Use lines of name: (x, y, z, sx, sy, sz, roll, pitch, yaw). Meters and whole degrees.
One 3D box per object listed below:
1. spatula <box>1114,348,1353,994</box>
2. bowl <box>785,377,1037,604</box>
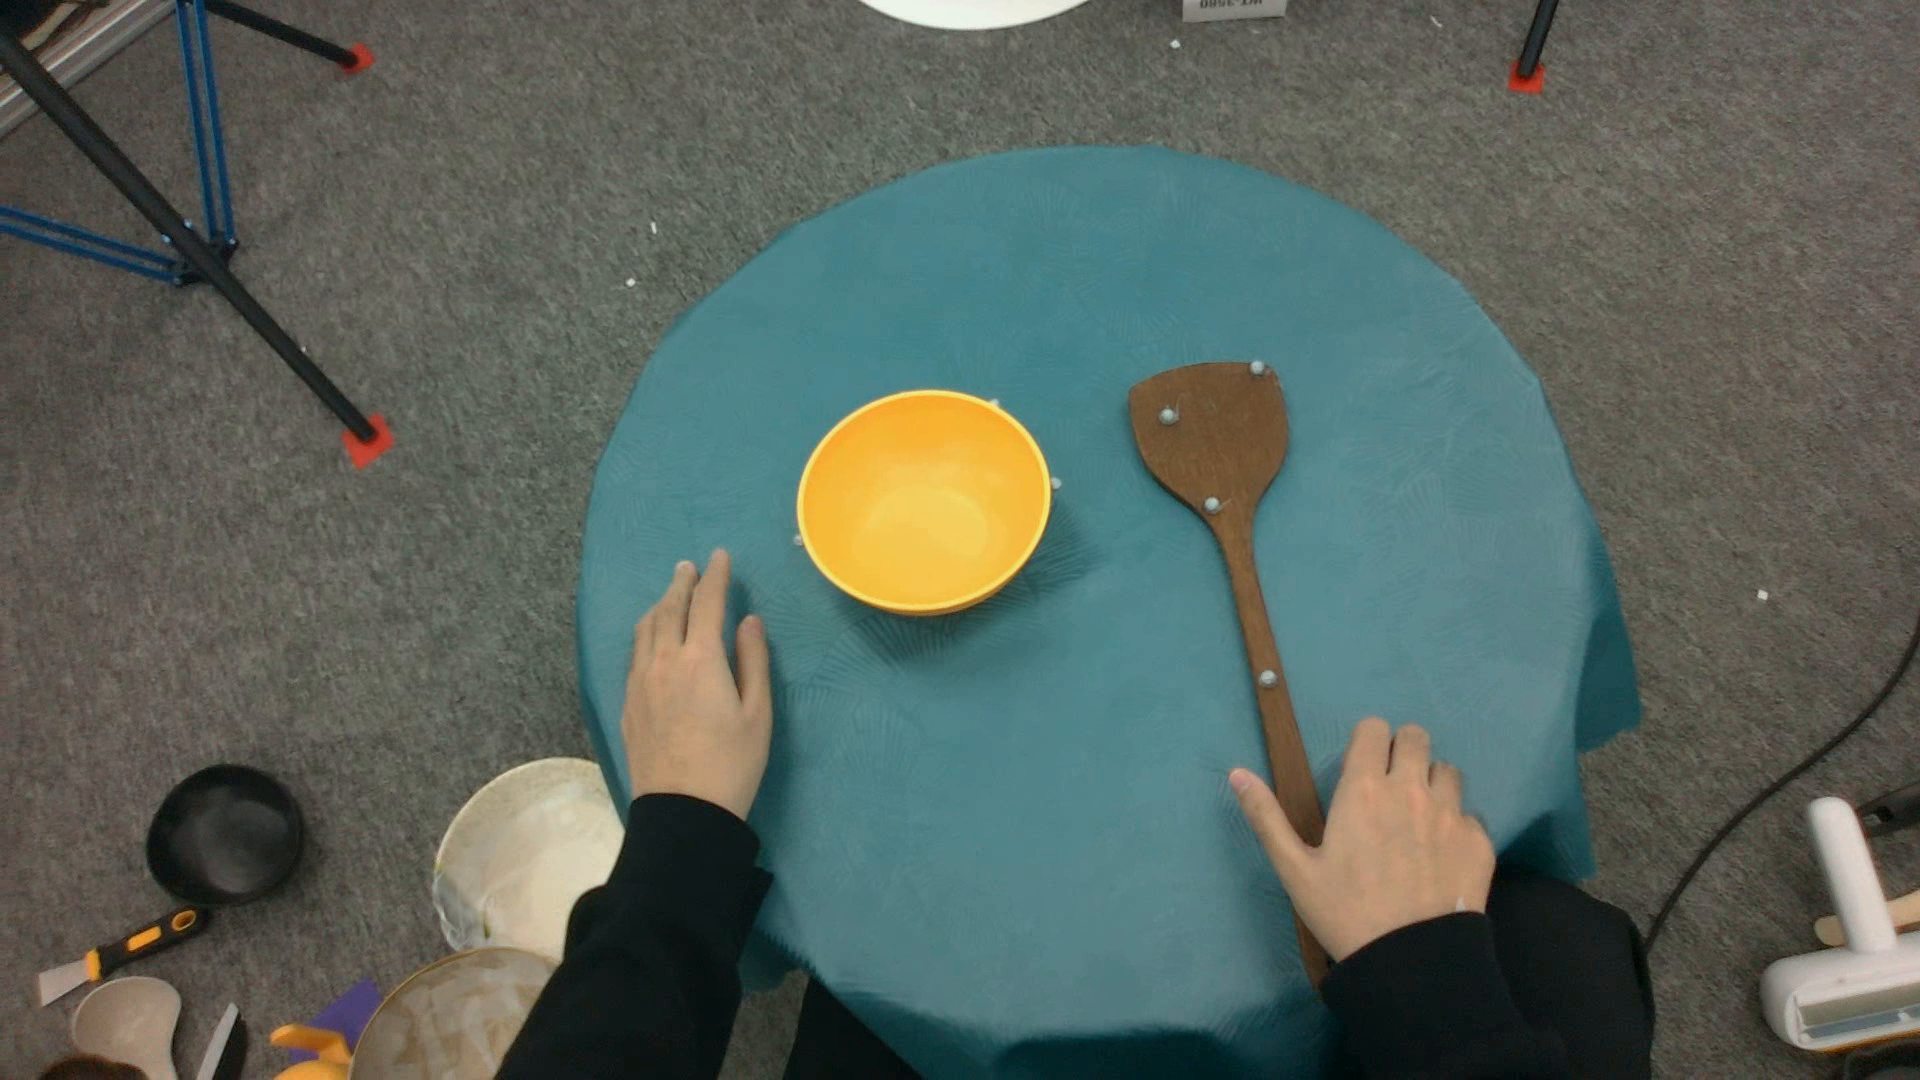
spatula: (0.161, 0.053, 0.769, 0.096, 0.016, 0.387, -8, 62, 2)
bowl: (-0.025, -0.020, 0.802, 0.145, 0.060, 0.146, -3, 63, 6)
